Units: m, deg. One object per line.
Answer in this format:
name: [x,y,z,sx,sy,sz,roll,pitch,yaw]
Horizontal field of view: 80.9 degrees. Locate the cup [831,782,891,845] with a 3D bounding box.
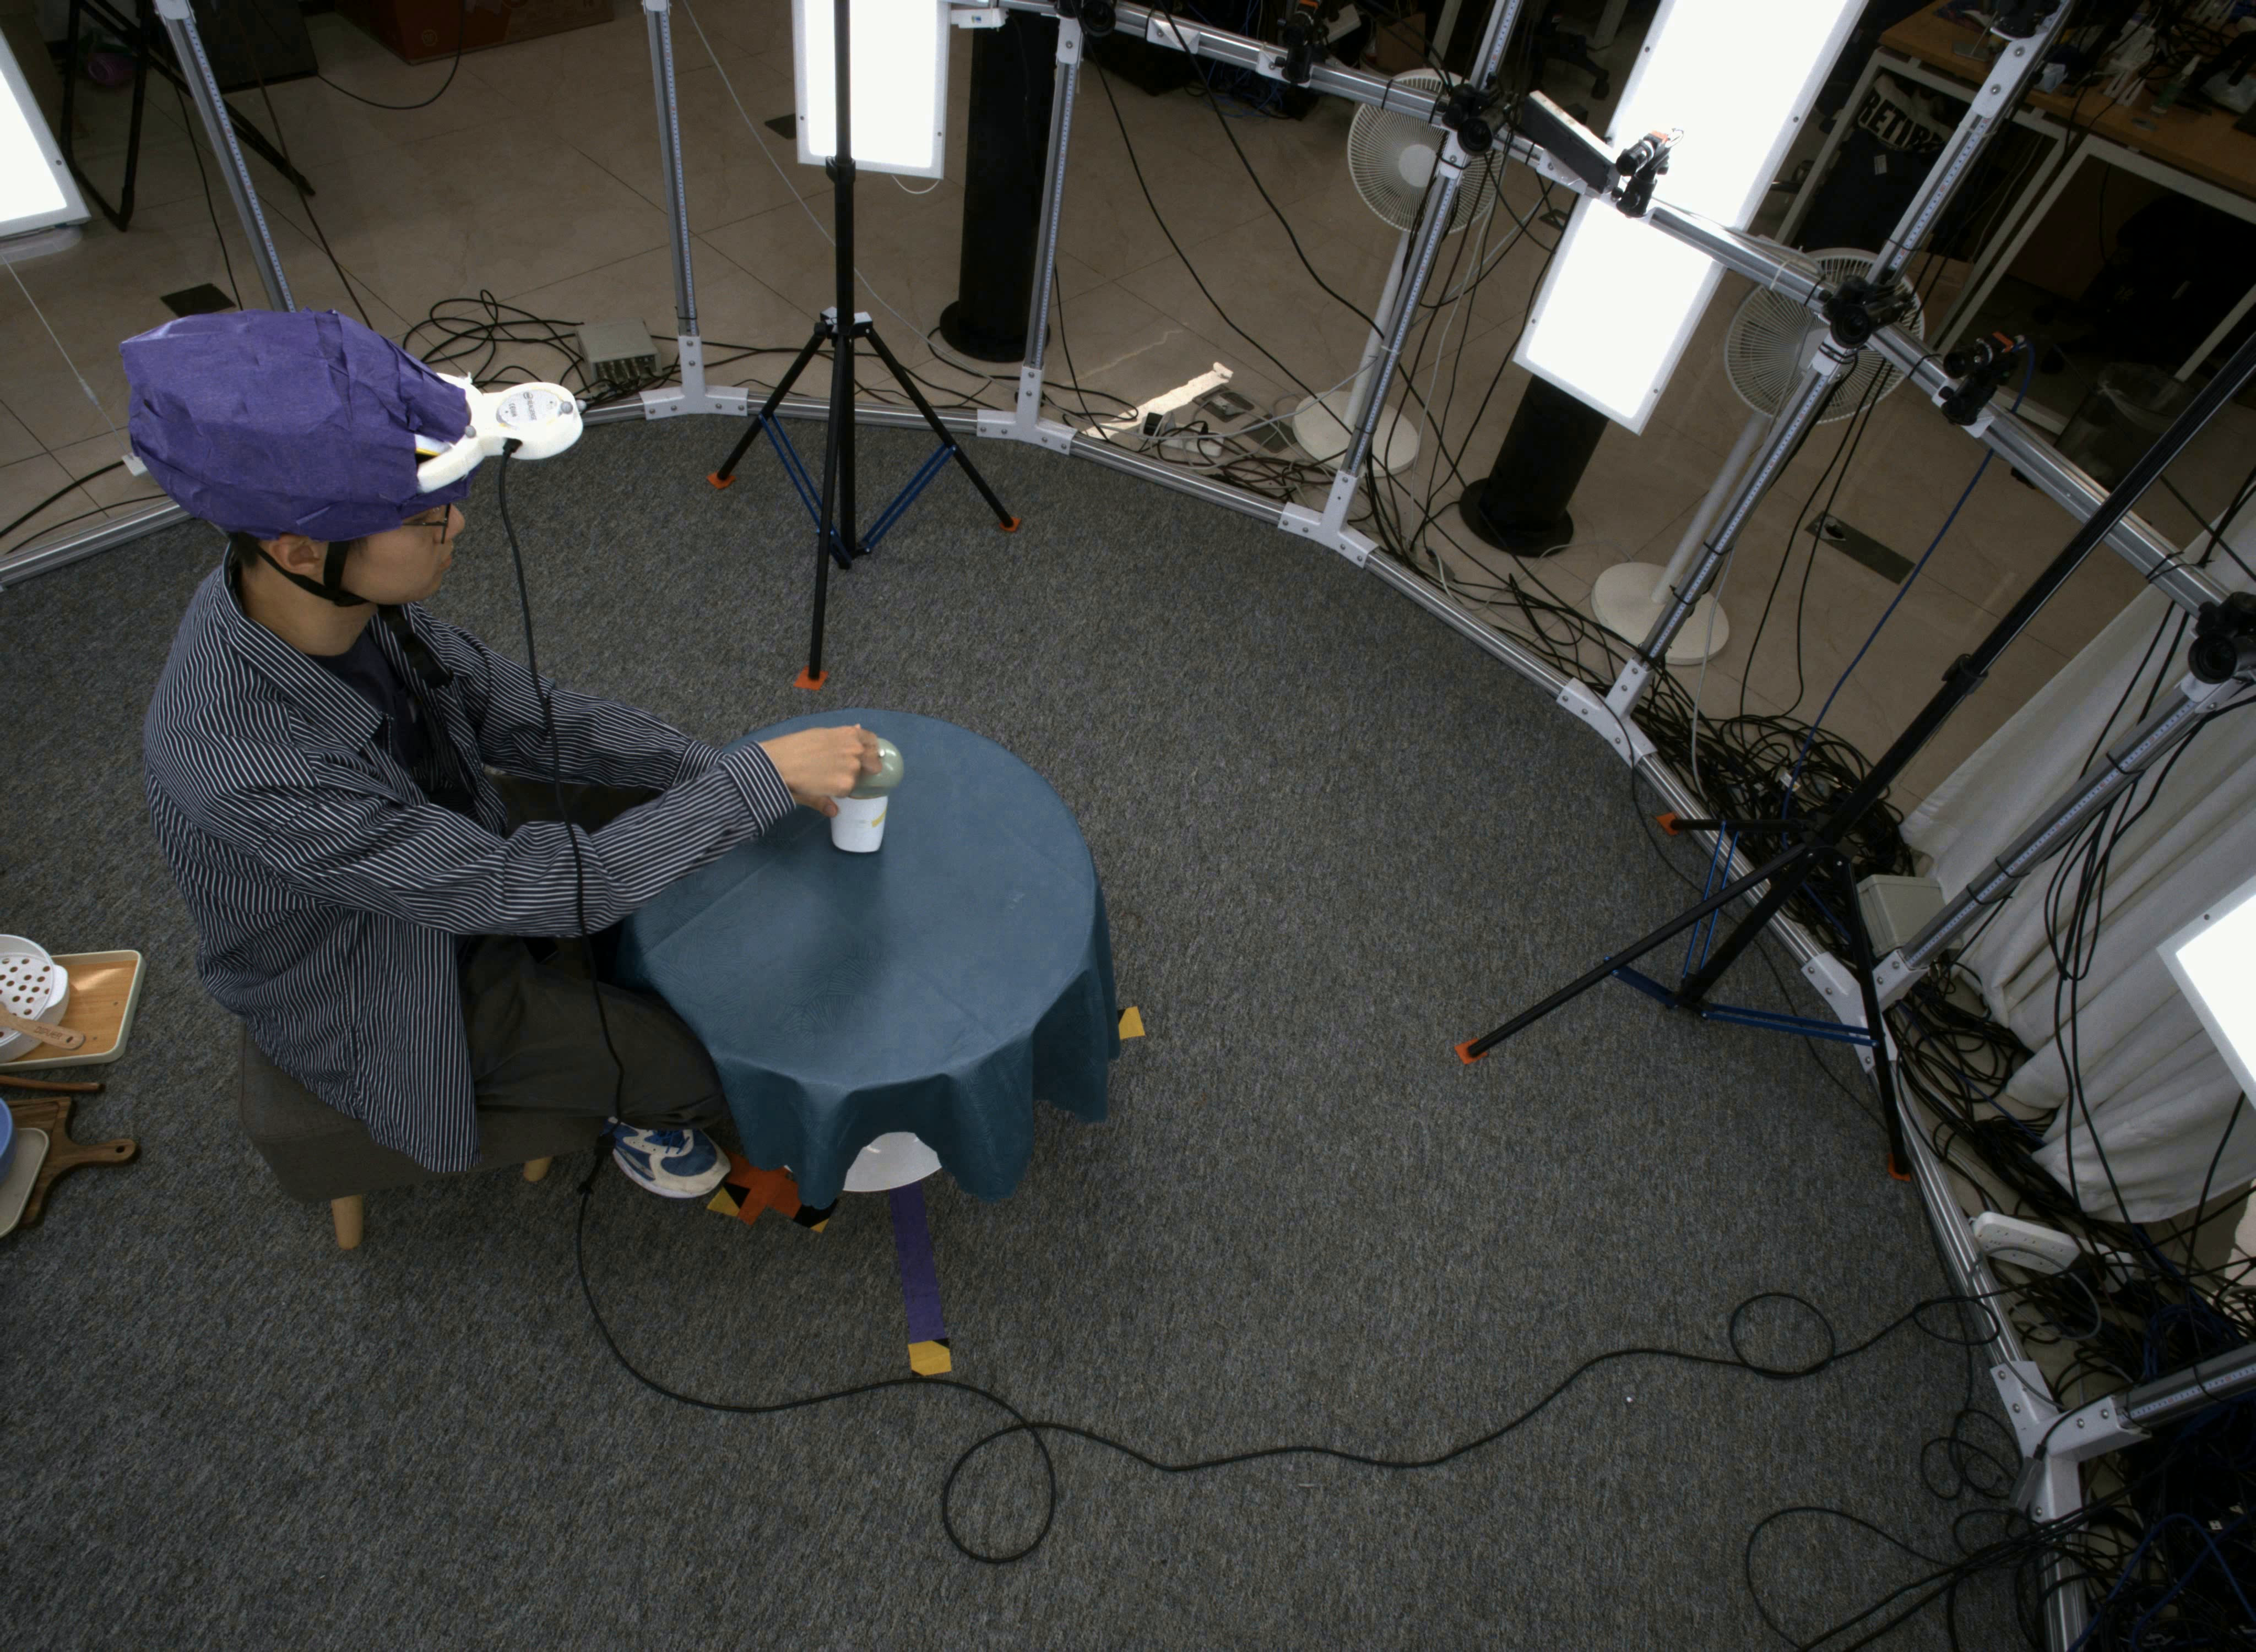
cup: [-0.348,-0.041,1.698,0.081,0.128,0.080,6,52,-7]

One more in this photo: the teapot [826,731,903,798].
teapot: [-0.315,-0.073,1.541,0.090,0.130,0.061,-9,78,1]
